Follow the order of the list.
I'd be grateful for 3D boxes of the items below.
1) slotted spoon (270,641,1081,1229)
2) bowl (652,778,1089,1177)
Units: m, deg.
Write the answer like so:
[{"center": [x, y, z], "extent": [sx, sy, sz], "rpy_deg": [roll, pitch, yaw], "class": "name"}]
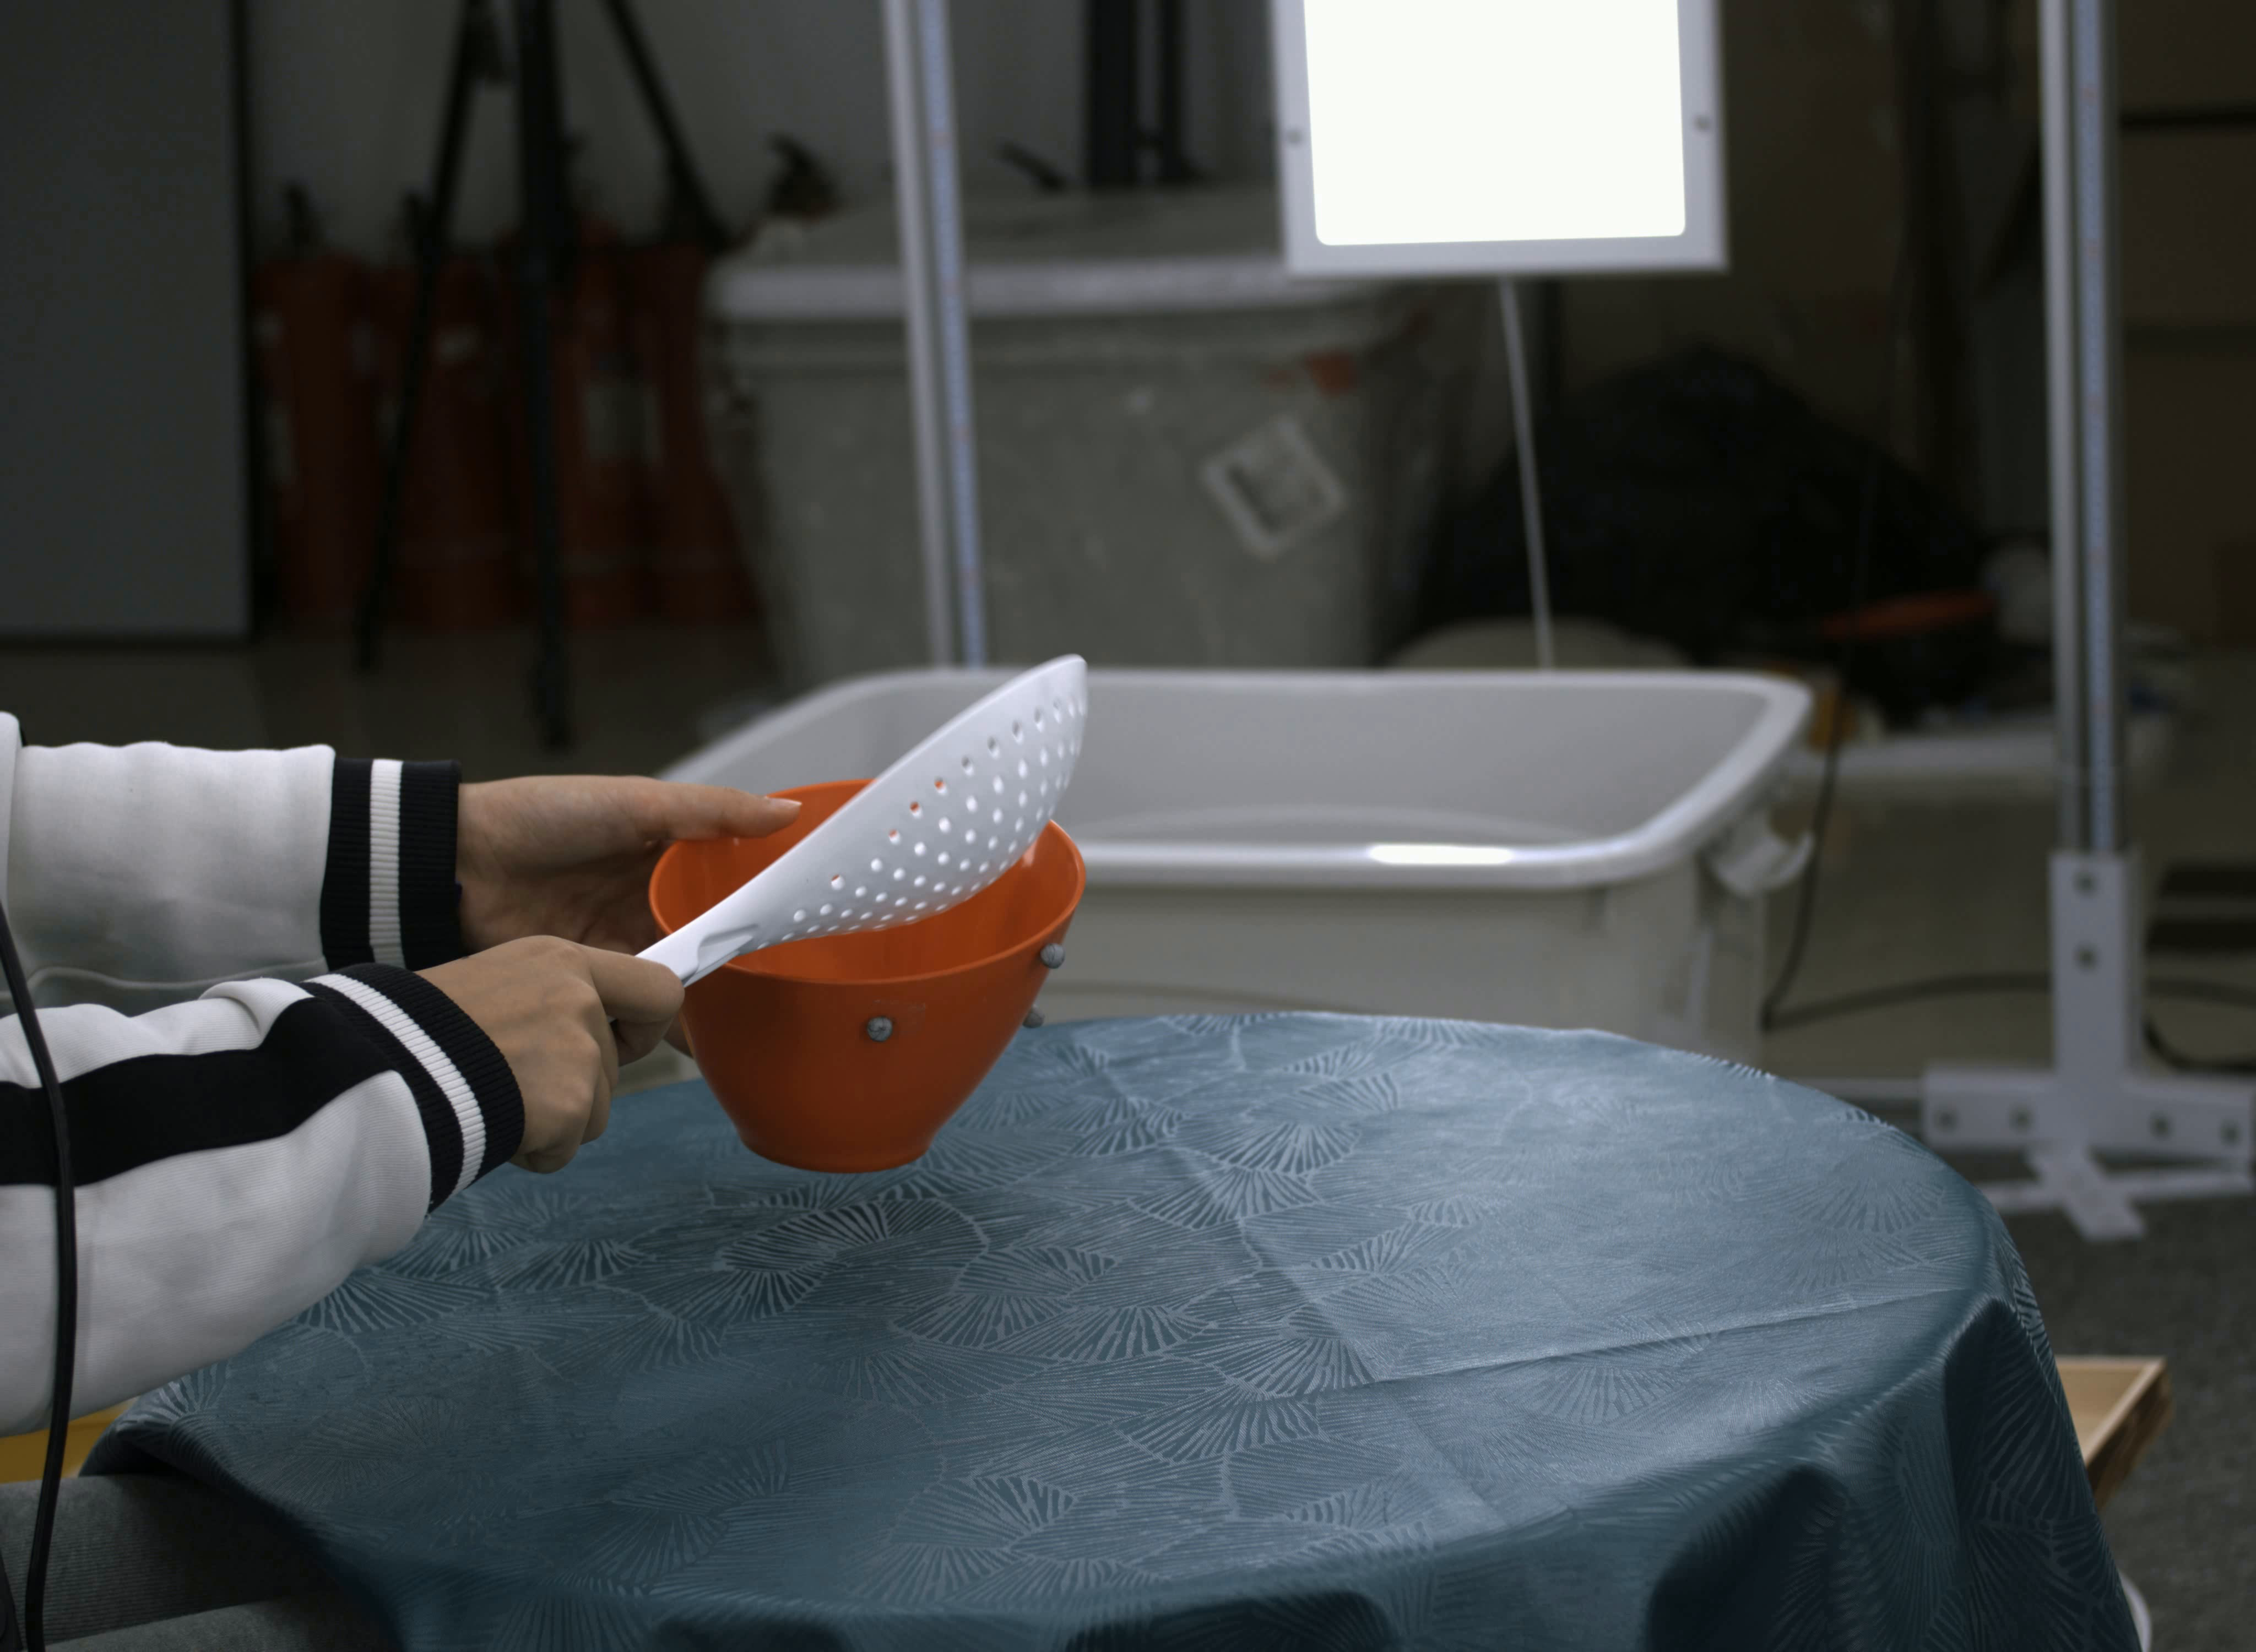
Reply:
[{"center": [-0.136, 0.037, 1.757], "extent": [0.341, 0.046, 0.138], "rpy_deg": [-27, -15, -35], "class": "slotted spoon"}, {"center": [-0.091, 0.056, 1.880], "extent": [0.147, 0.105, 0.148], "rpy_deg": [3, 21, -3], "class": "bowl"}]
